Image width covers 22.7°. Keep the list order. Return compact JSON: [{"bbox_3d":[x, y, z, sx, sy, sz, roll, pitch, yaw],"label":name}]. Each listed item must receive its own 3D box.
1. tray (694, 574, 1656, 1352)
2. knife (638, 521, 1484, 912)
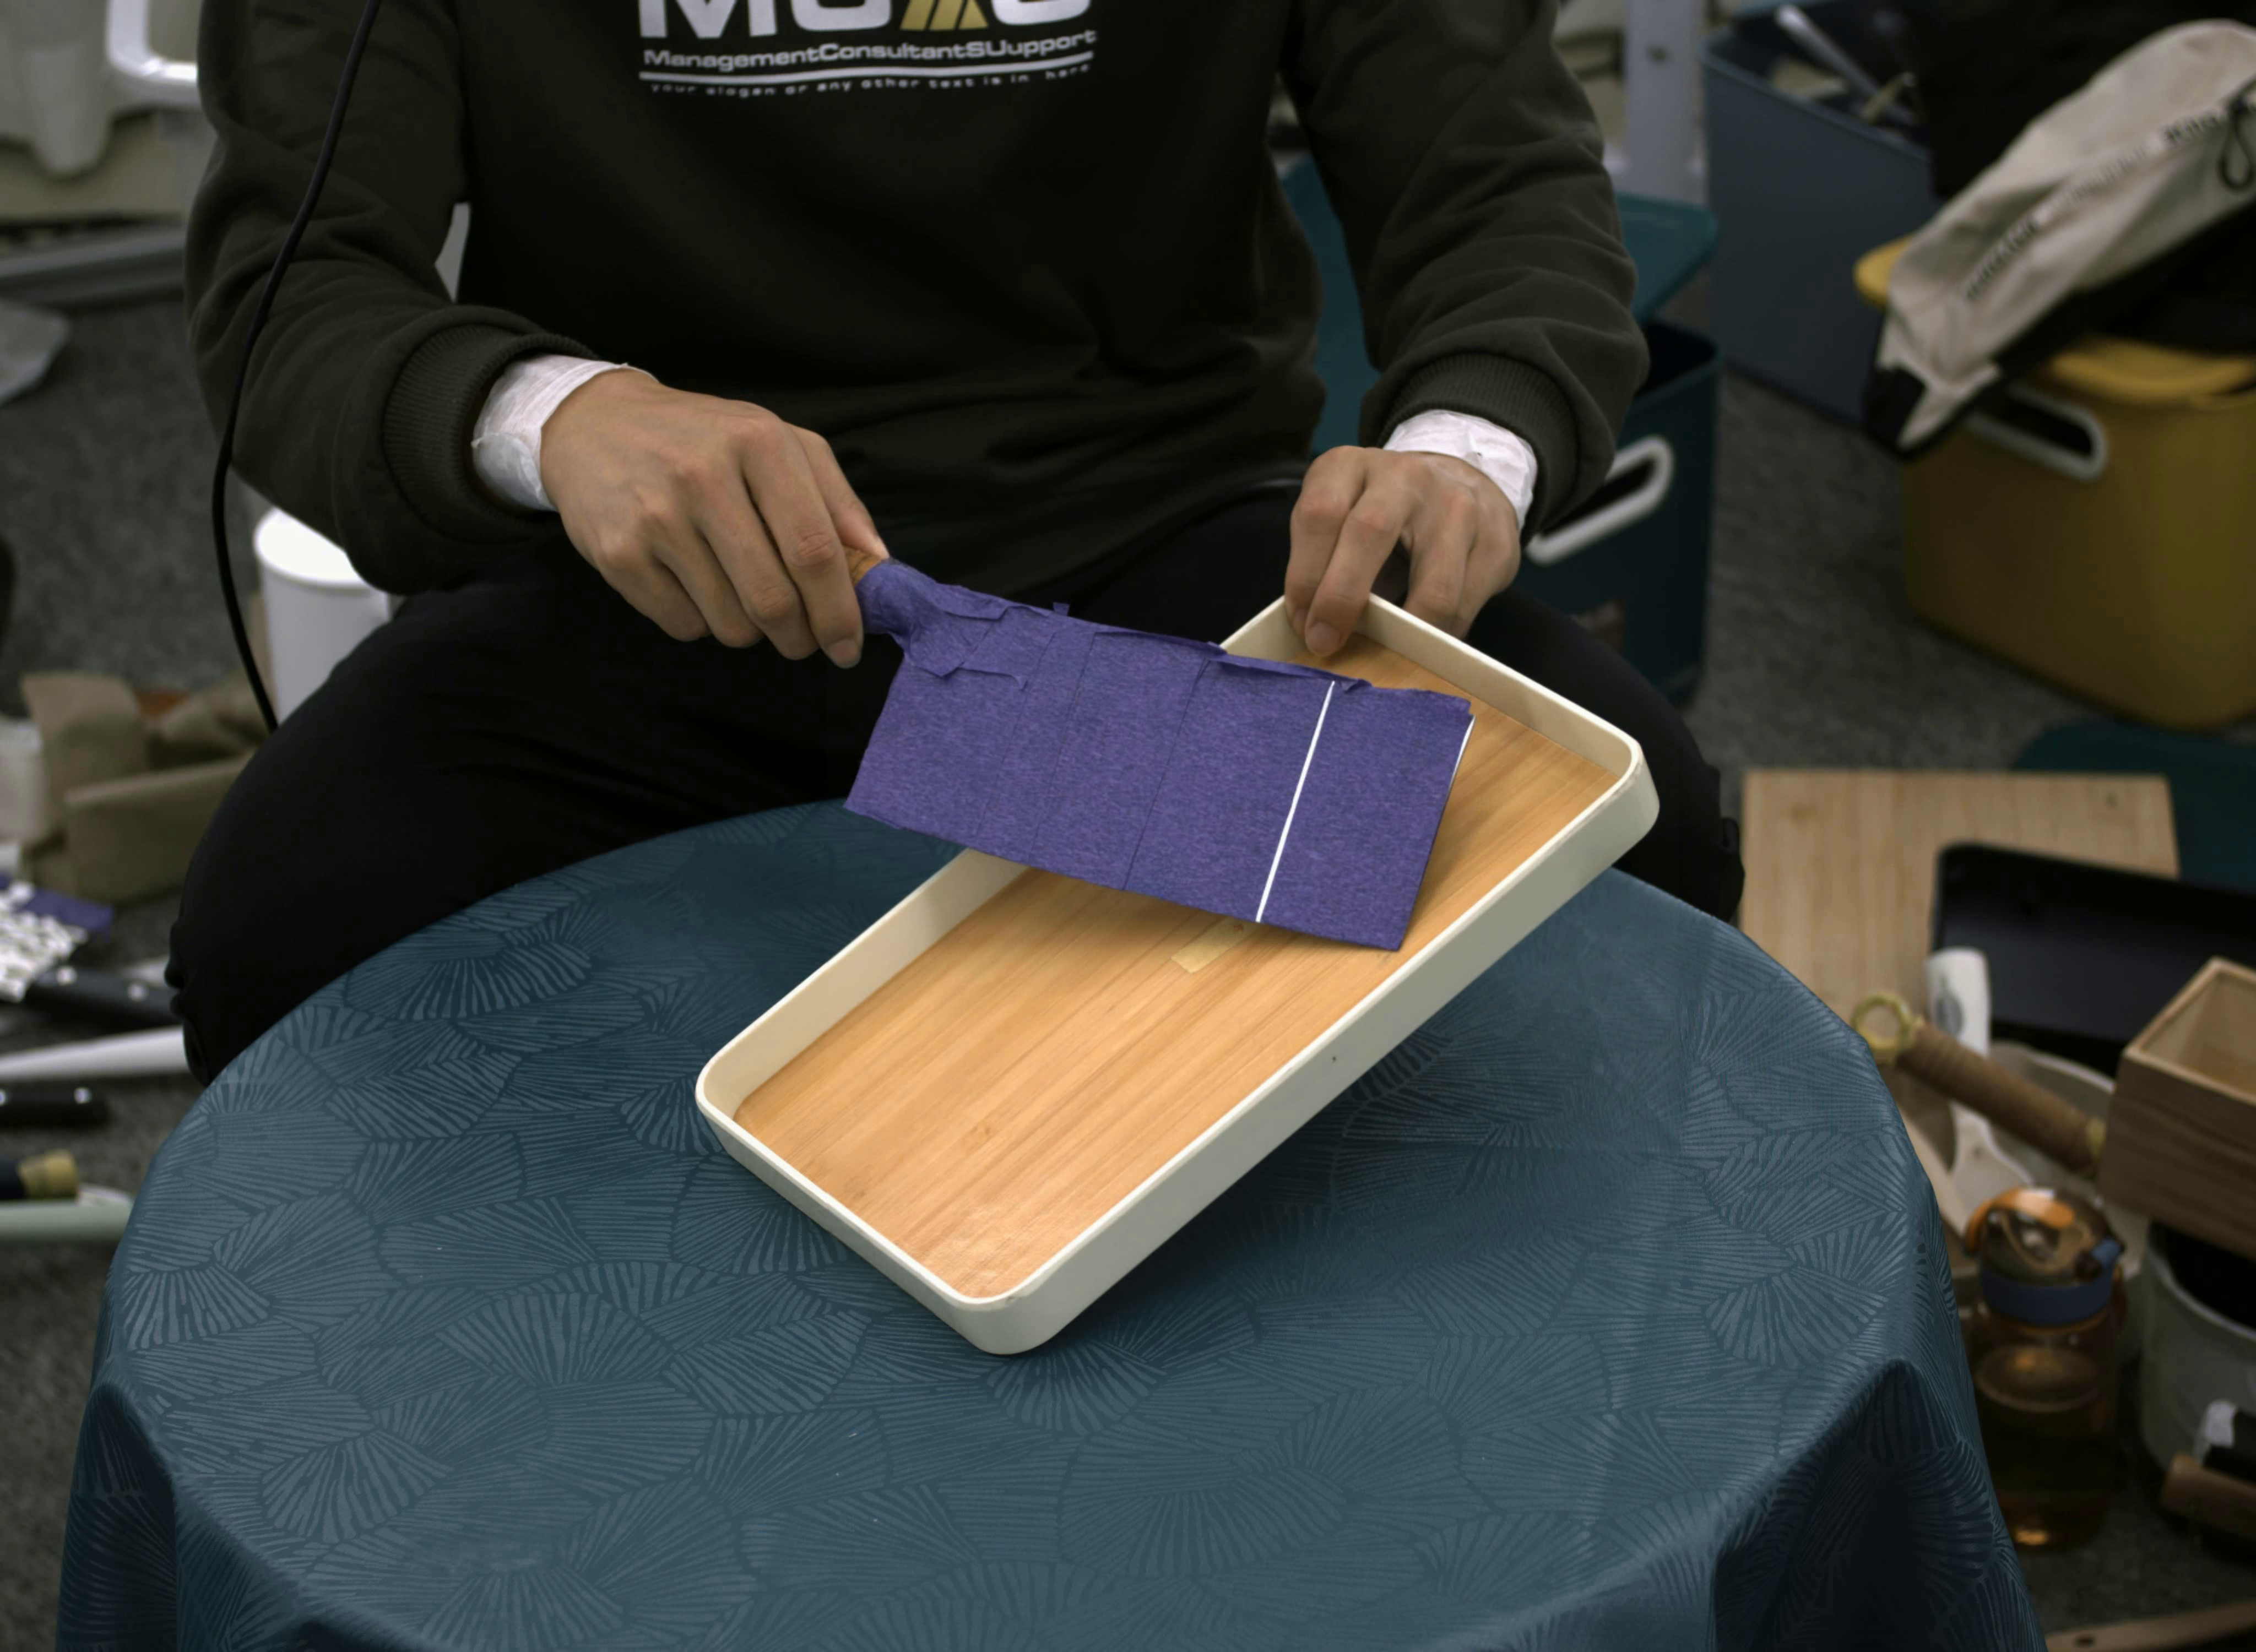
[{"bbox_3d":[0.015,0.040,1.877,0.303,0.027,0.192,-39,39,-18],"label":"tray"},{"bbox_3d":[-0.037,-0.037,1.916,0.313,0.032,0.105,12,69,23],"label":"knife"}]
